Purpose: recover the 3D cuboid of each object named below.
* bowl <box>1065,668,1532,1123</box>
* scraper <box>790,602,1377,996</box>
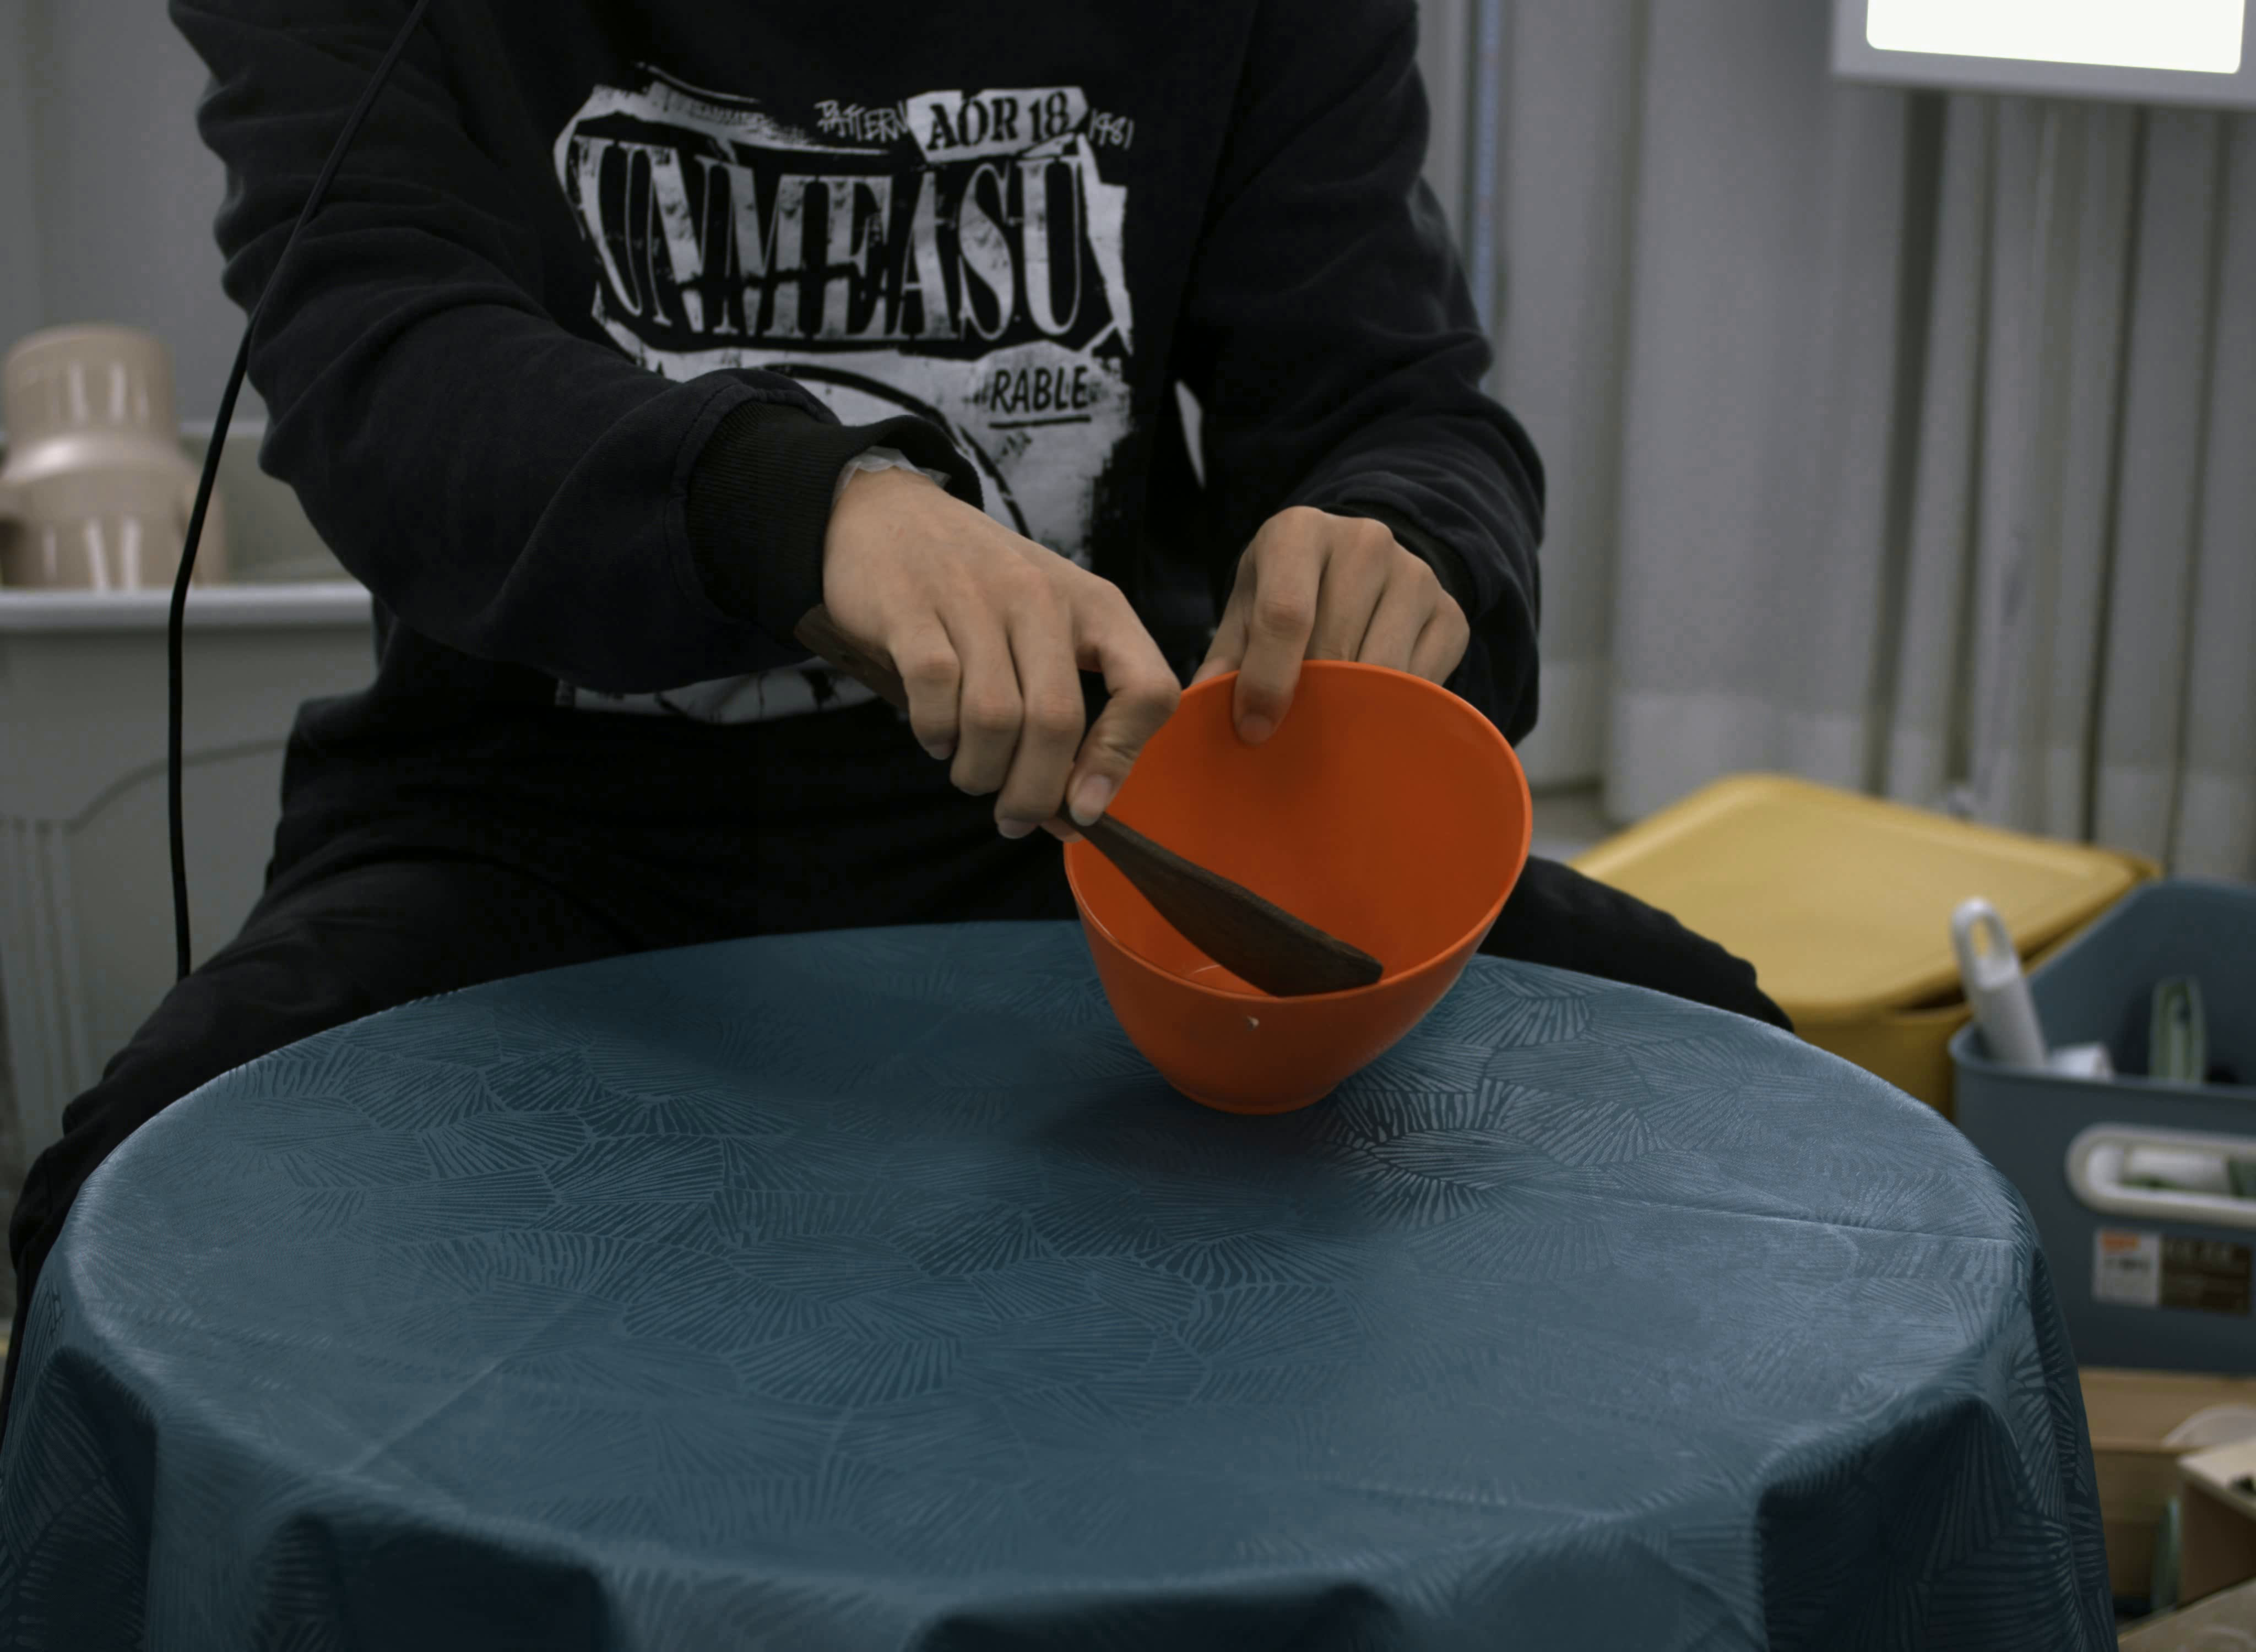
[{"bbox_3d":[0.052,0.032,1.691,0.147,0.106,0.146,3,42,-2],"label":"bowl"},{"bbox_3d":[-0.017,-0.005,1.624,0.211,0.011,0.076,35,-19,-5],"label":"scraper"}]
